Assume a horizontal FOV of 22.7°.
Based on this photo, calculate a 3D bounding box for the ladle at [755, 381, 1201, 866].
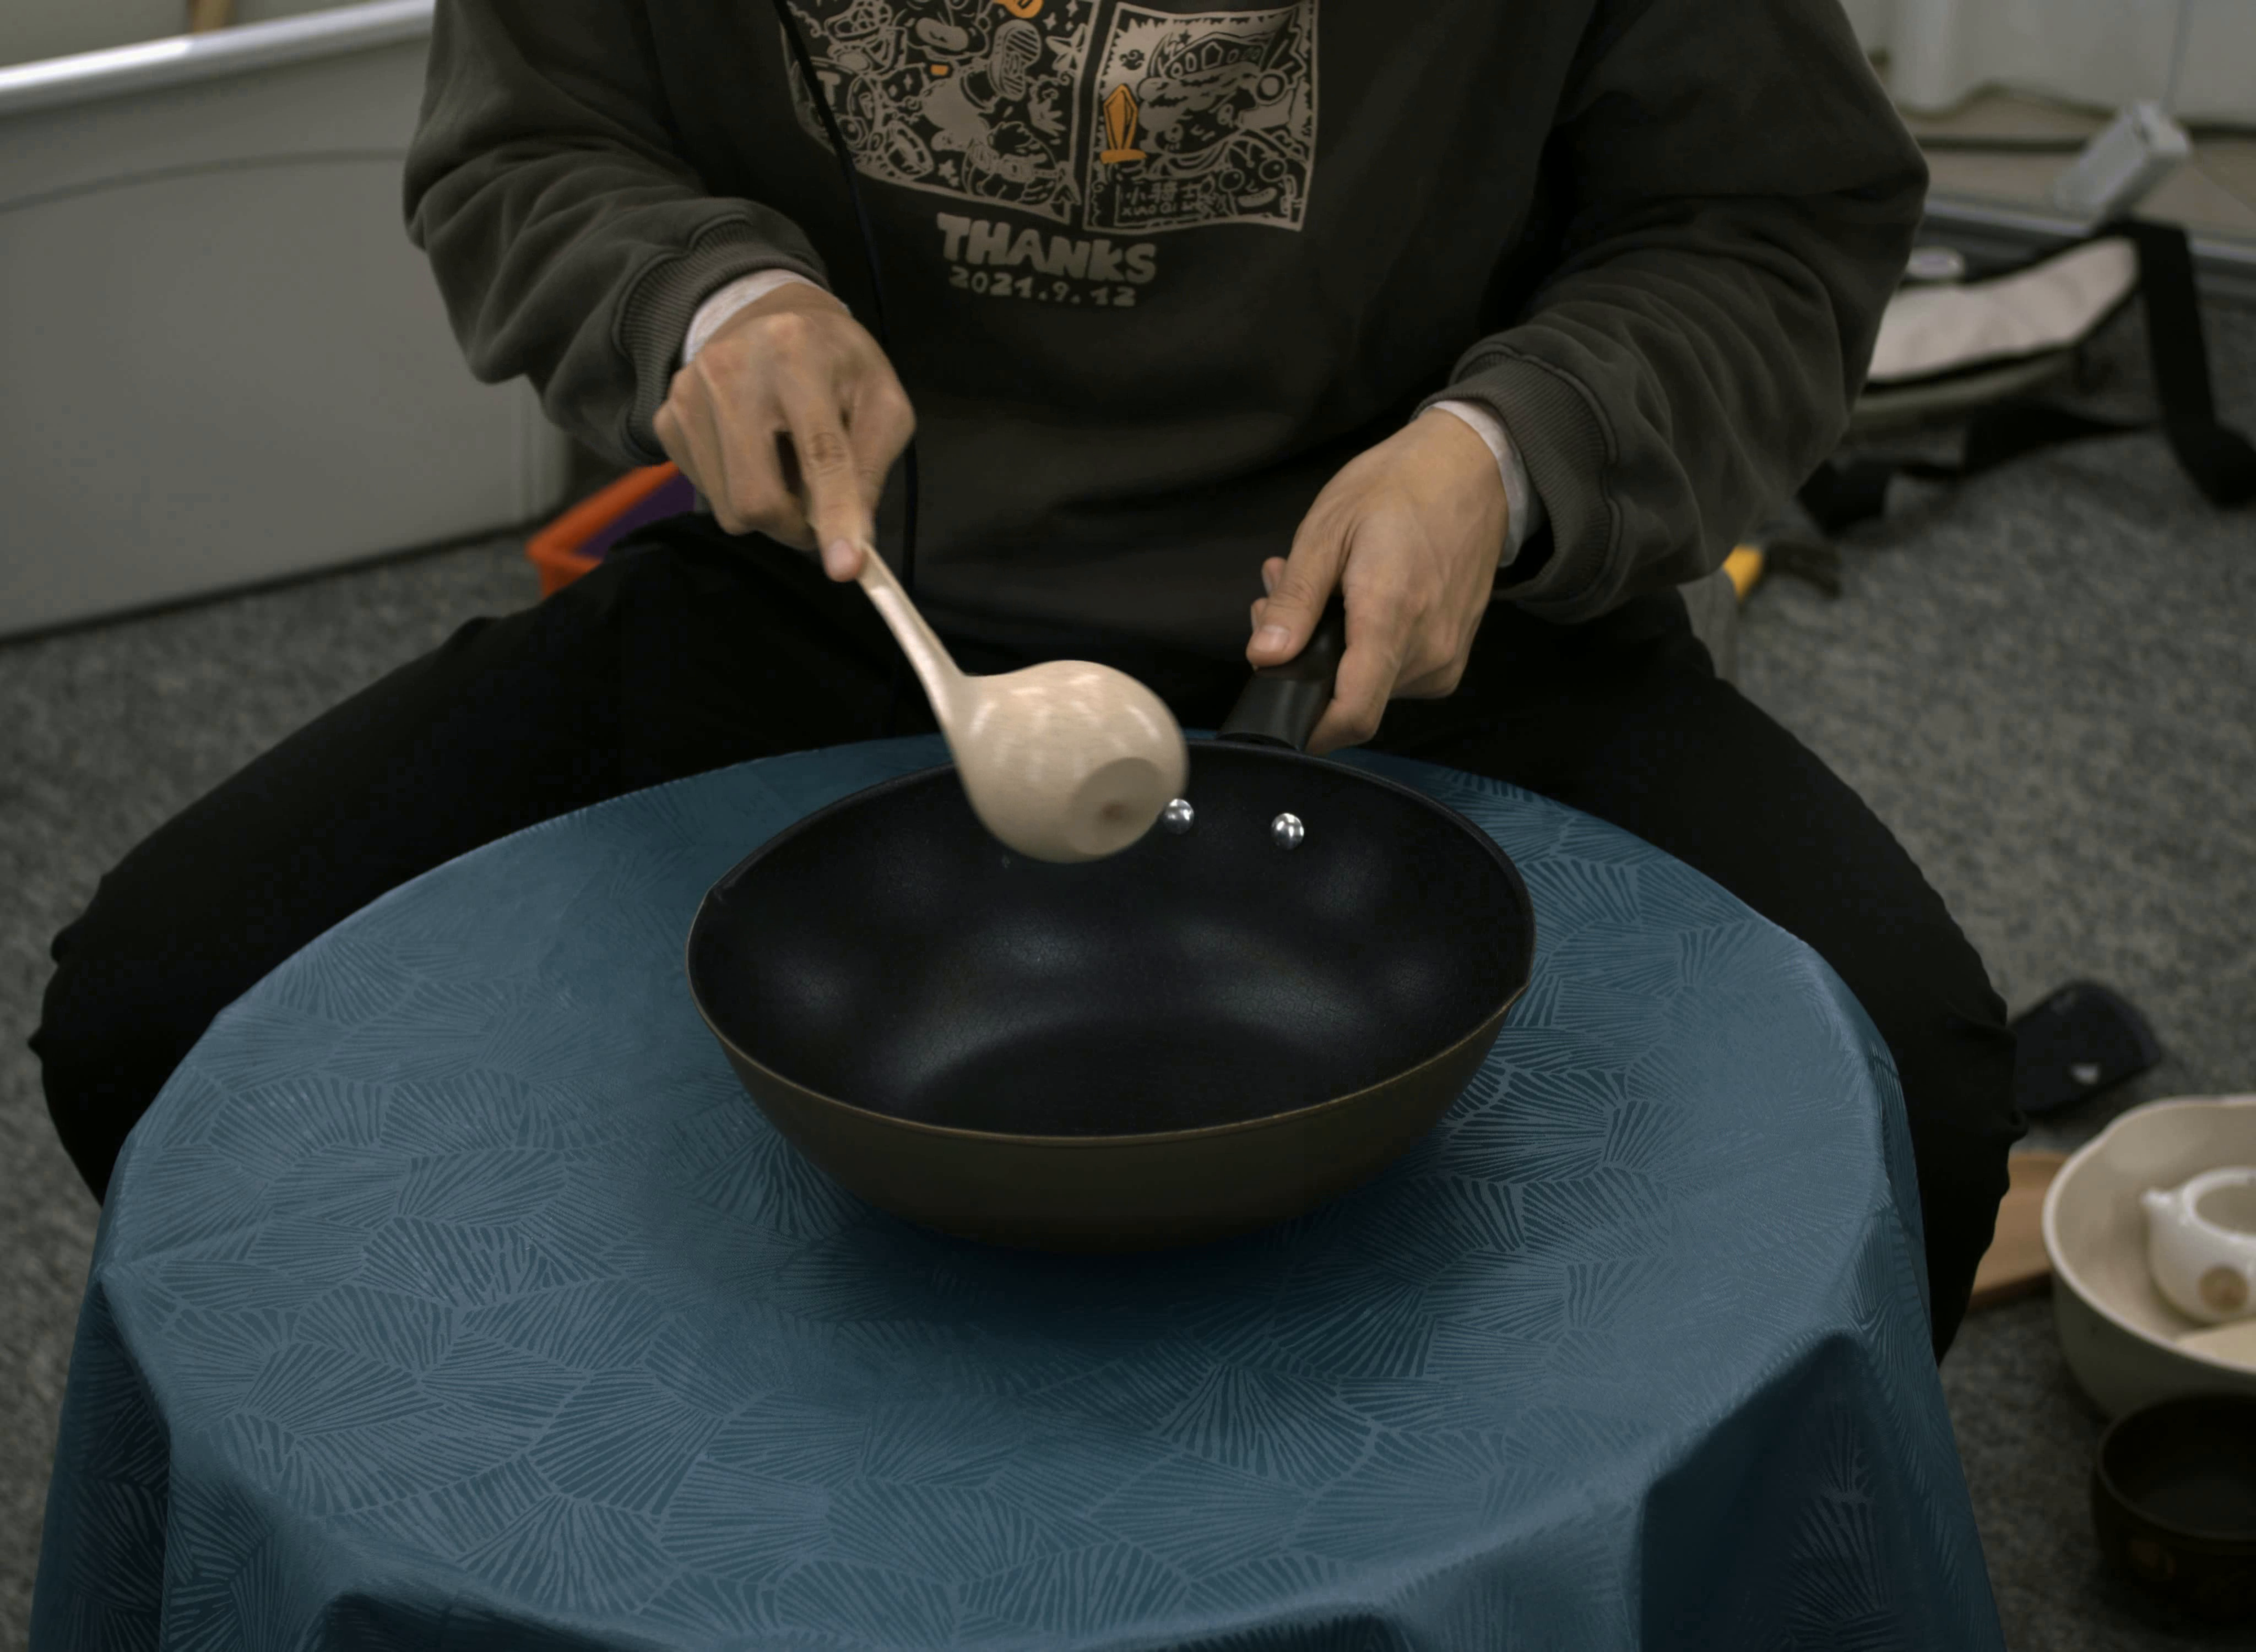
[{"bbox_3d":[-0.054,-0.078,1.962,0.073,0.071,0.257,9,30,-34],"label":"ladle"}]

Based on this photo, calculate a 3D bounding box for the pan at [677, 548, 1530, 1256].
[{"bbox_3d":[0.024,0.027,1.952,0.286,0.086,0.471,7,28,18],"label":"pan"}]
